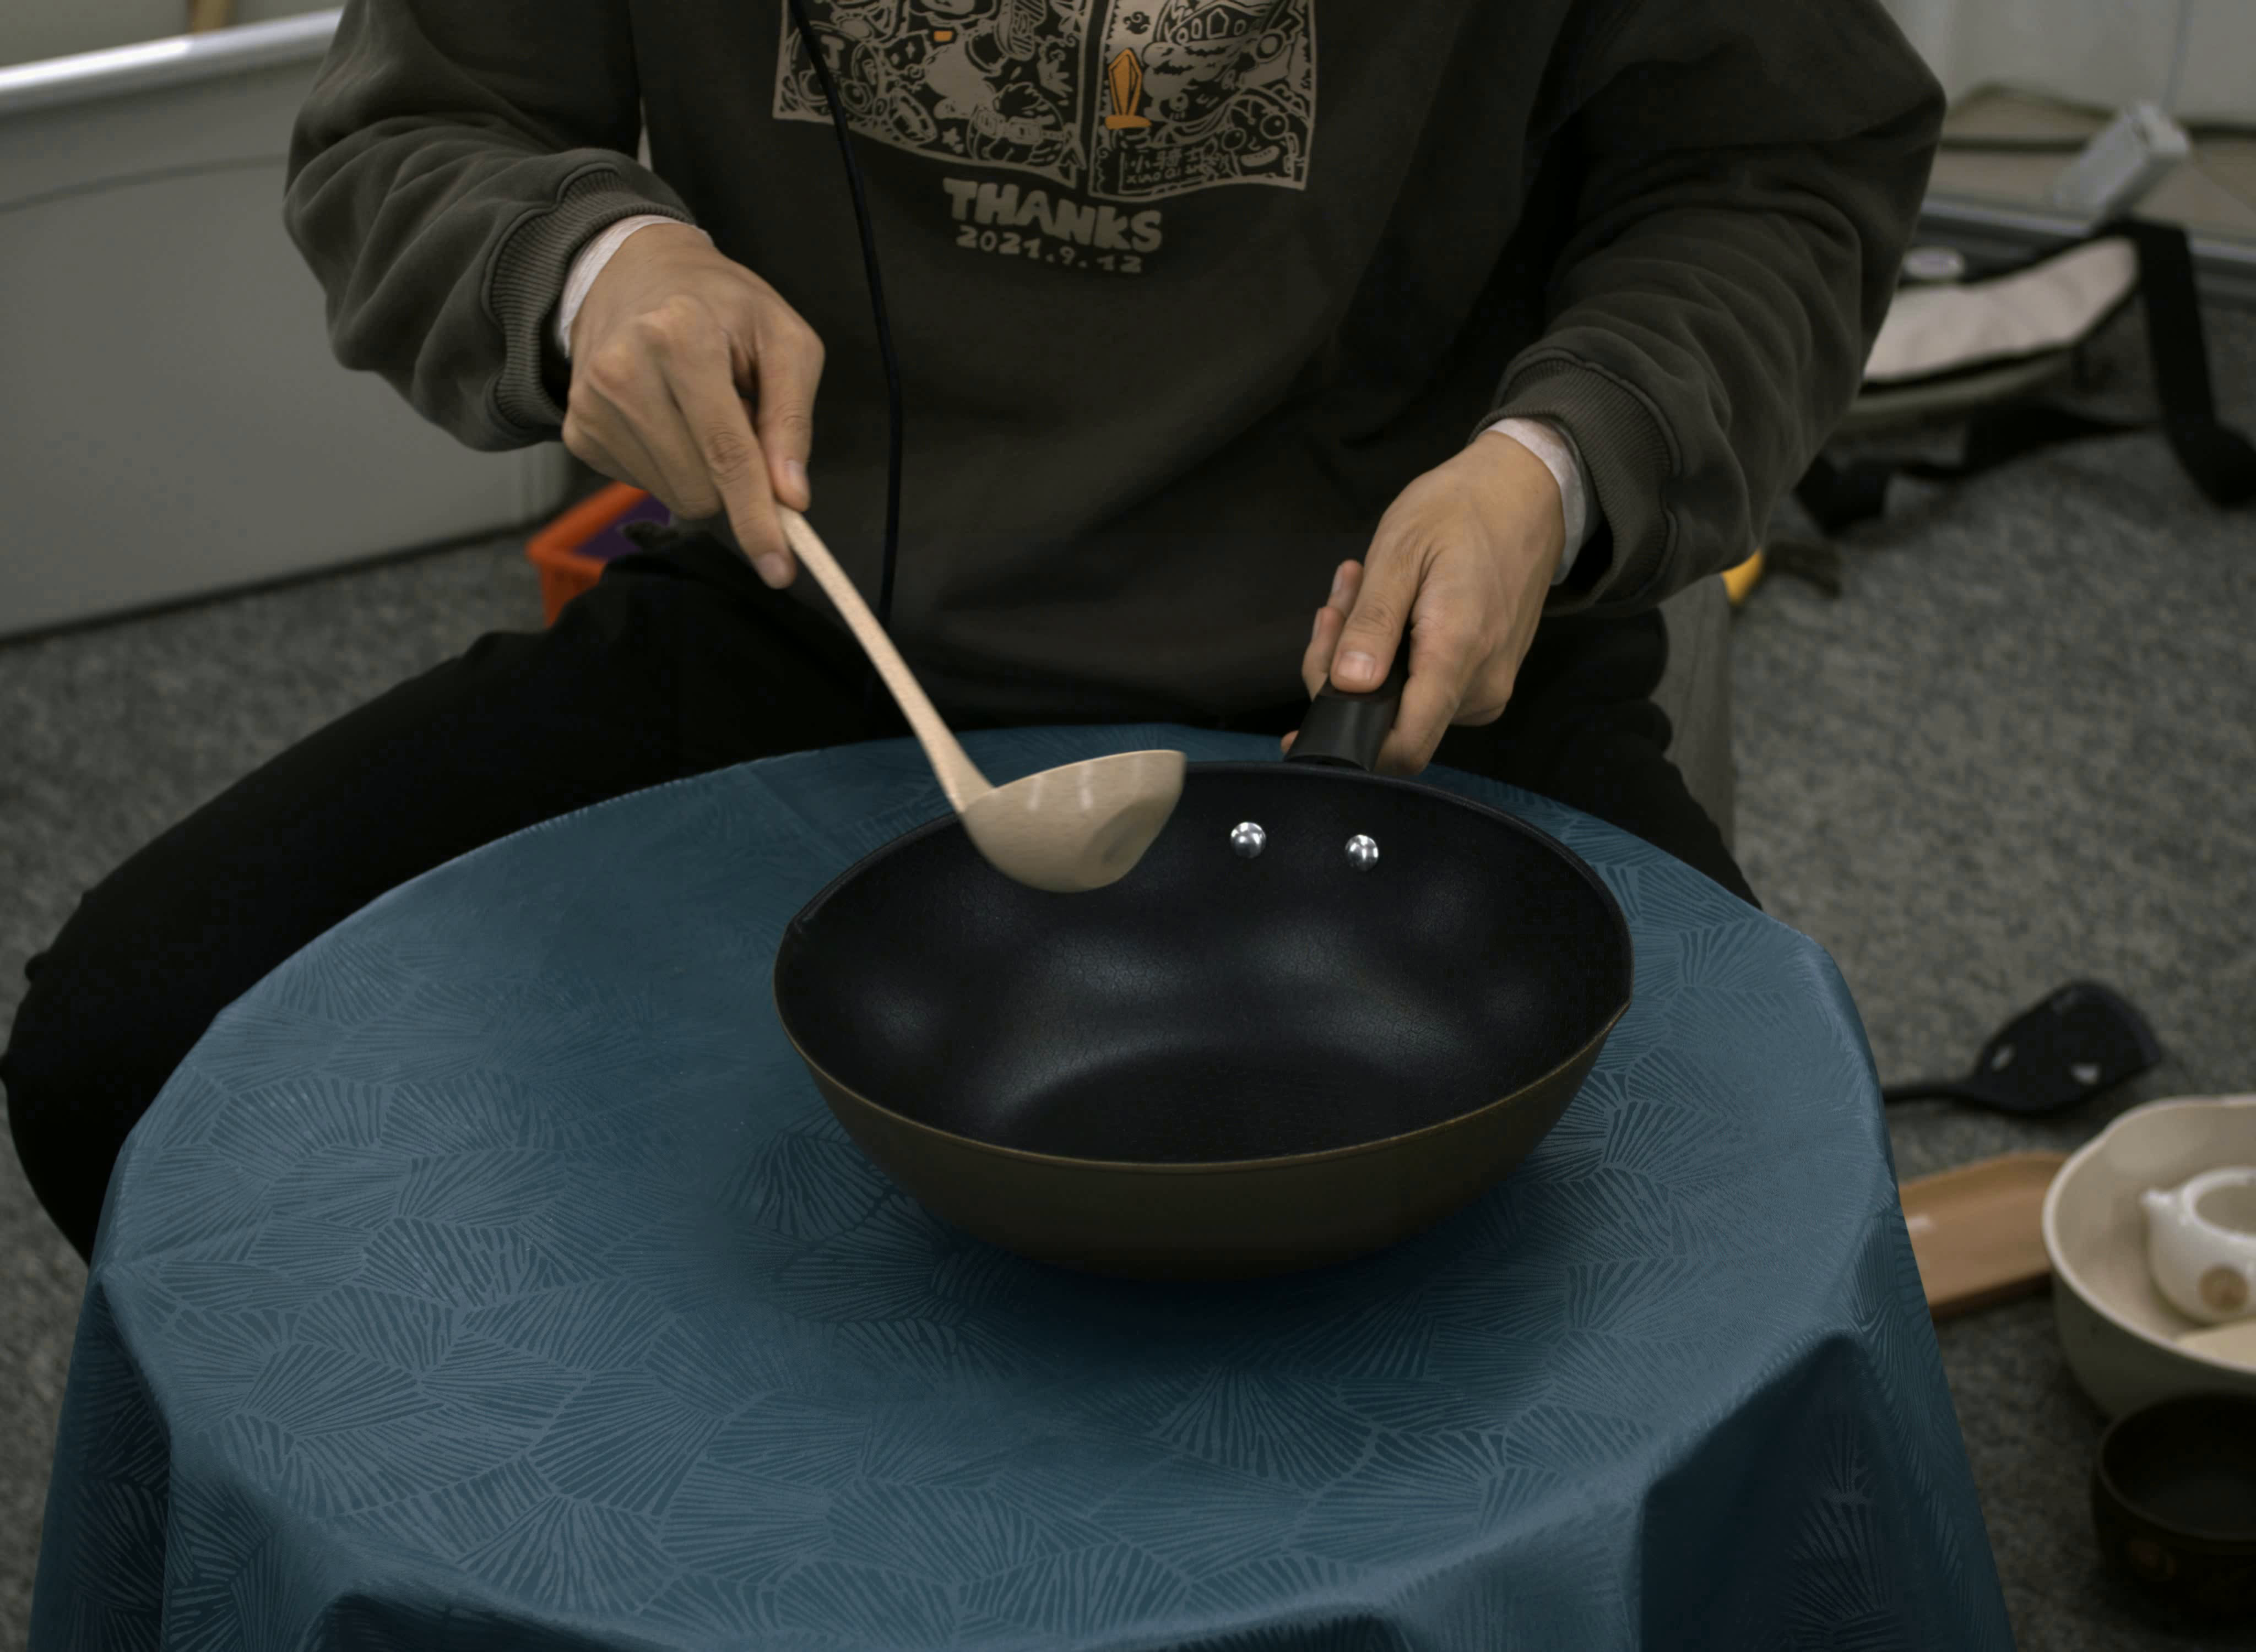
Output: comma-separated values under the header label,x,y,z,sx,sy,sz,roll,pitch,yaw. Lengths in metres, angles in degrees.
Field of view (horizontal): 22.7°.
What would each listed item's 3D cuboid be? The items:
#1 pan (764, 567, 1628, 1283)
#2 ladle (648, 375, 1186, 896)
label,x,y,z,sx,sy,sz,roll,pitch,yaw
pan,0.050,0.035,1.934,0.286,0.086,0.471,5,27,16
ladle,-0.071,-0.084,1.868,0.072,0.072,0.256,-6,53,-51
